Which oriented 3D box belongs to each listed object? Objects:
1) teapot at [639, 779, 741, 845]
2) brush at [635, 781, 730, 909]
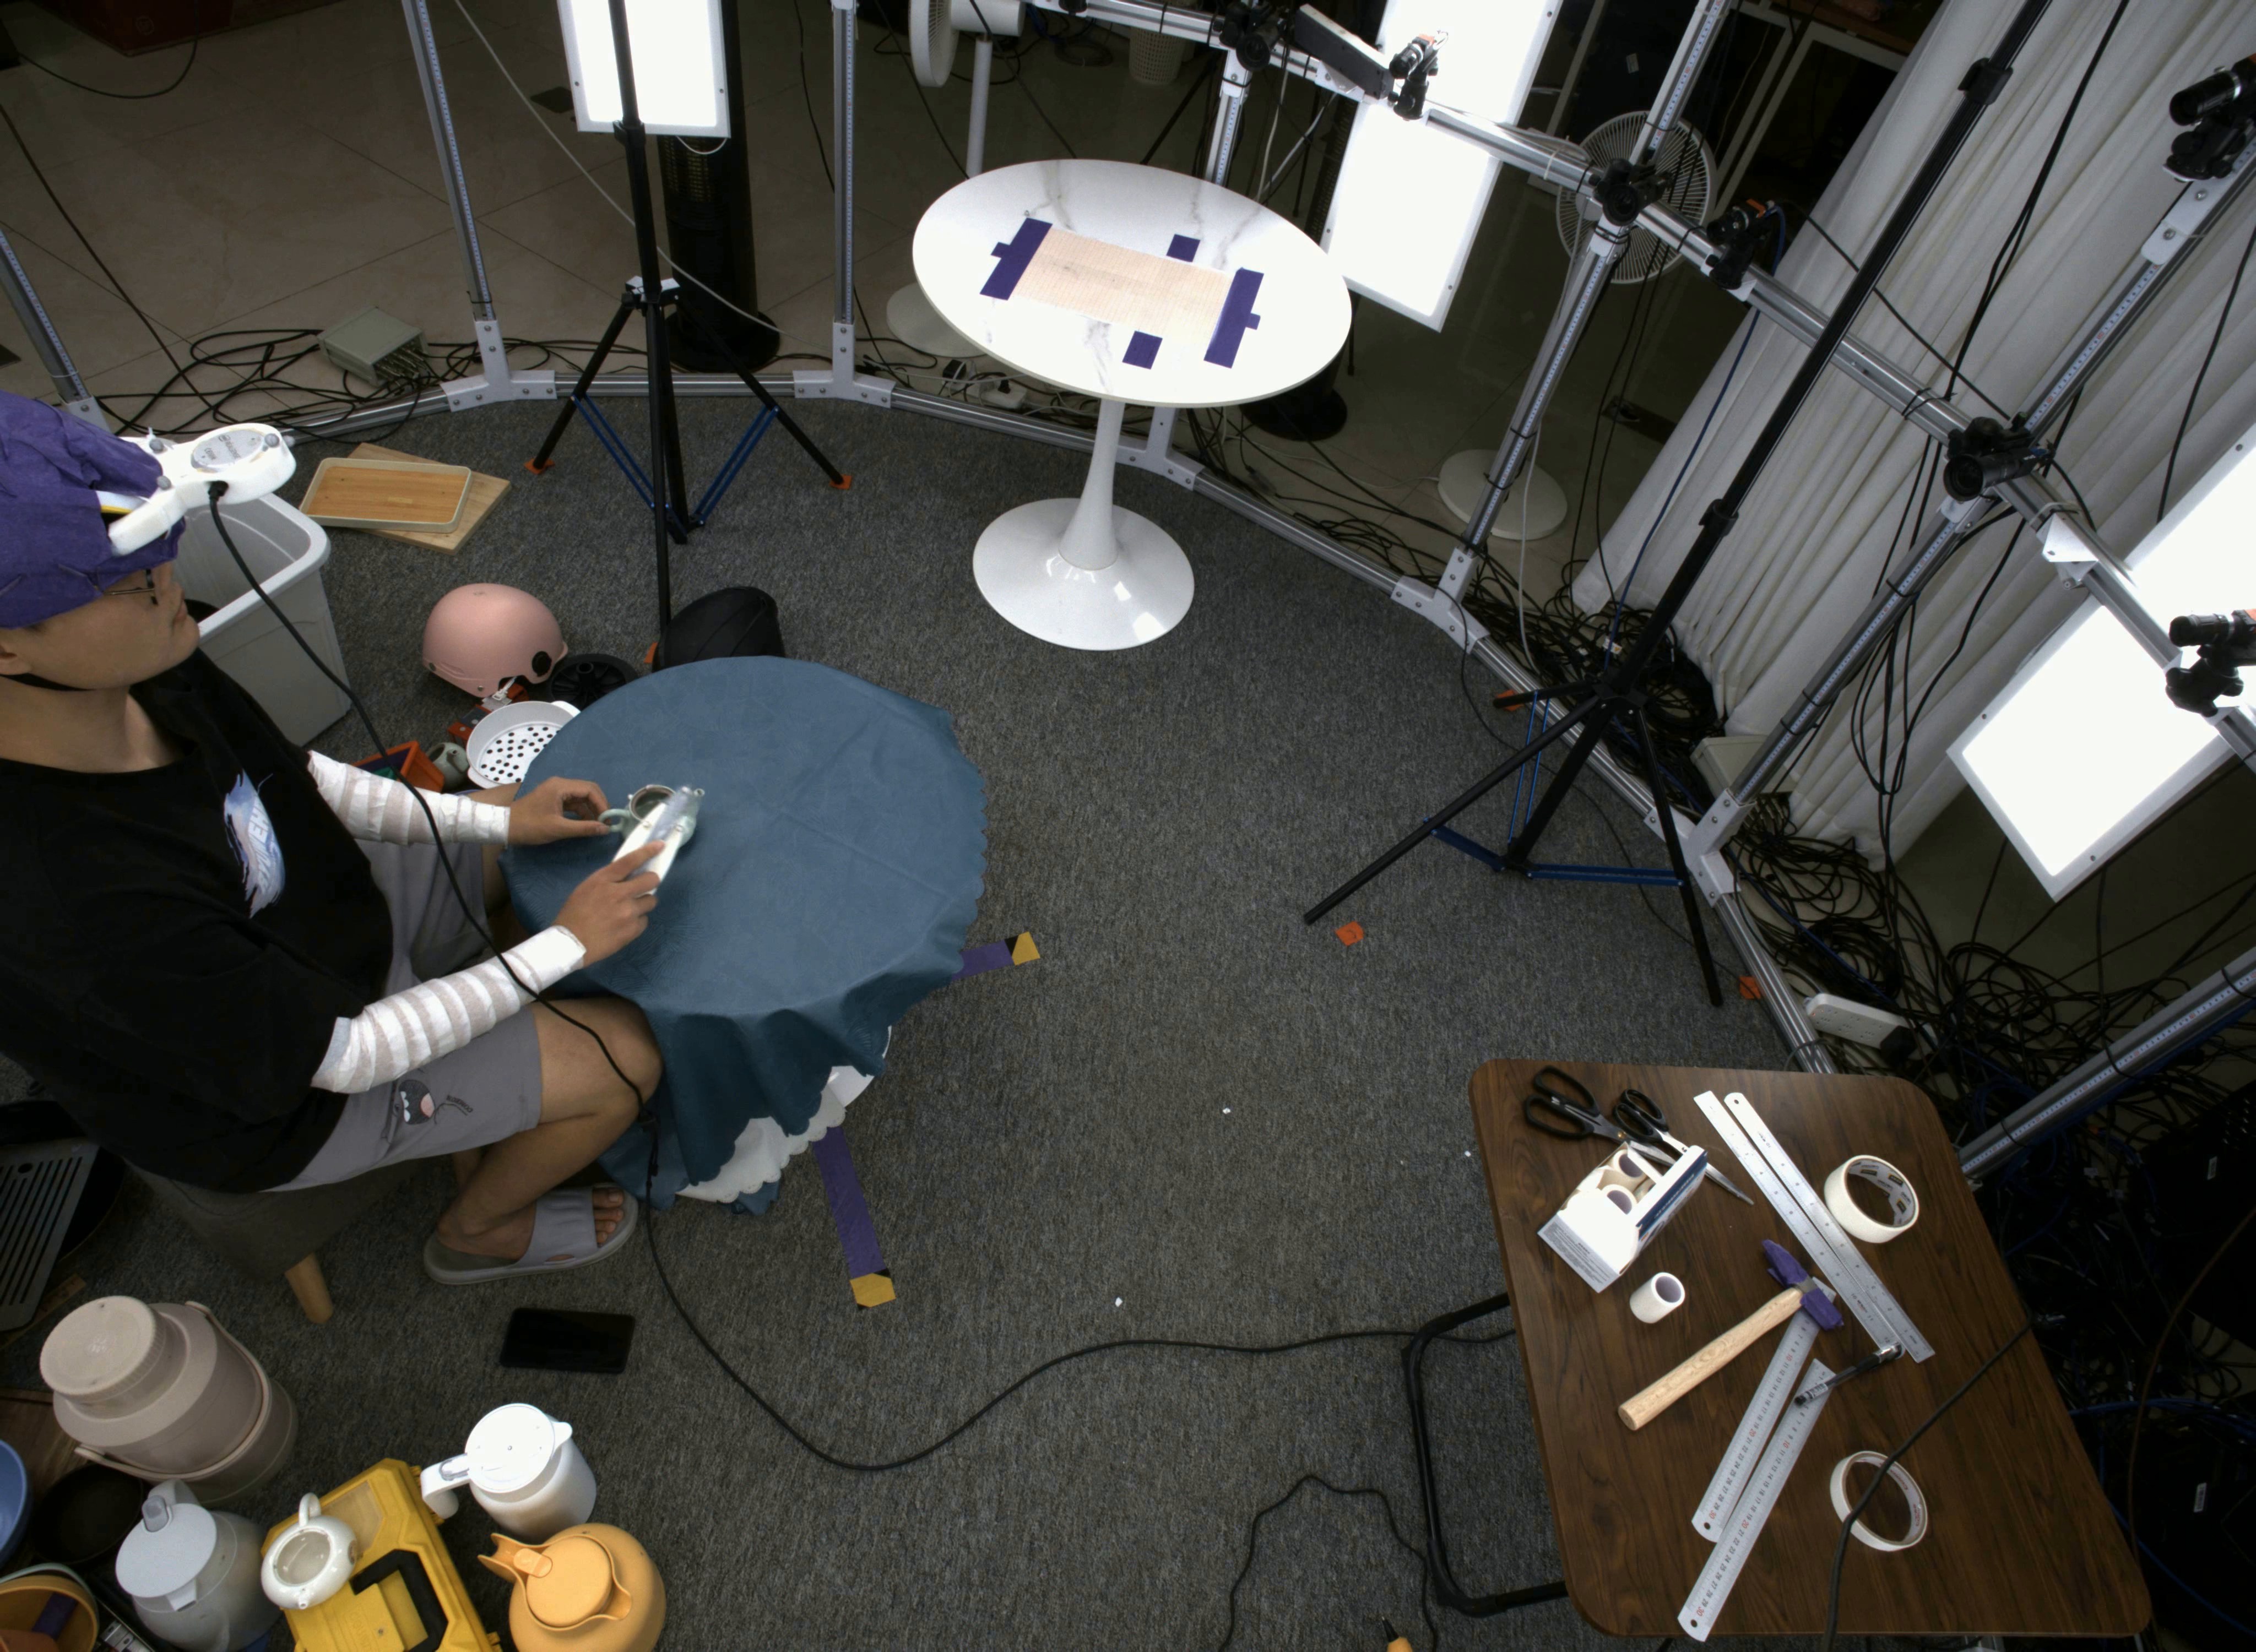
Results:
[{"bbox_3d":[-0.568,-0.021,1.675,0.137,0.062,0.094,-16,61,-23],"label":"teapot"},{"bbox_3d":[-0.534,0.015,1.572,0.063,0.092,0.176,35,77,-18],"label":"brush"}]
